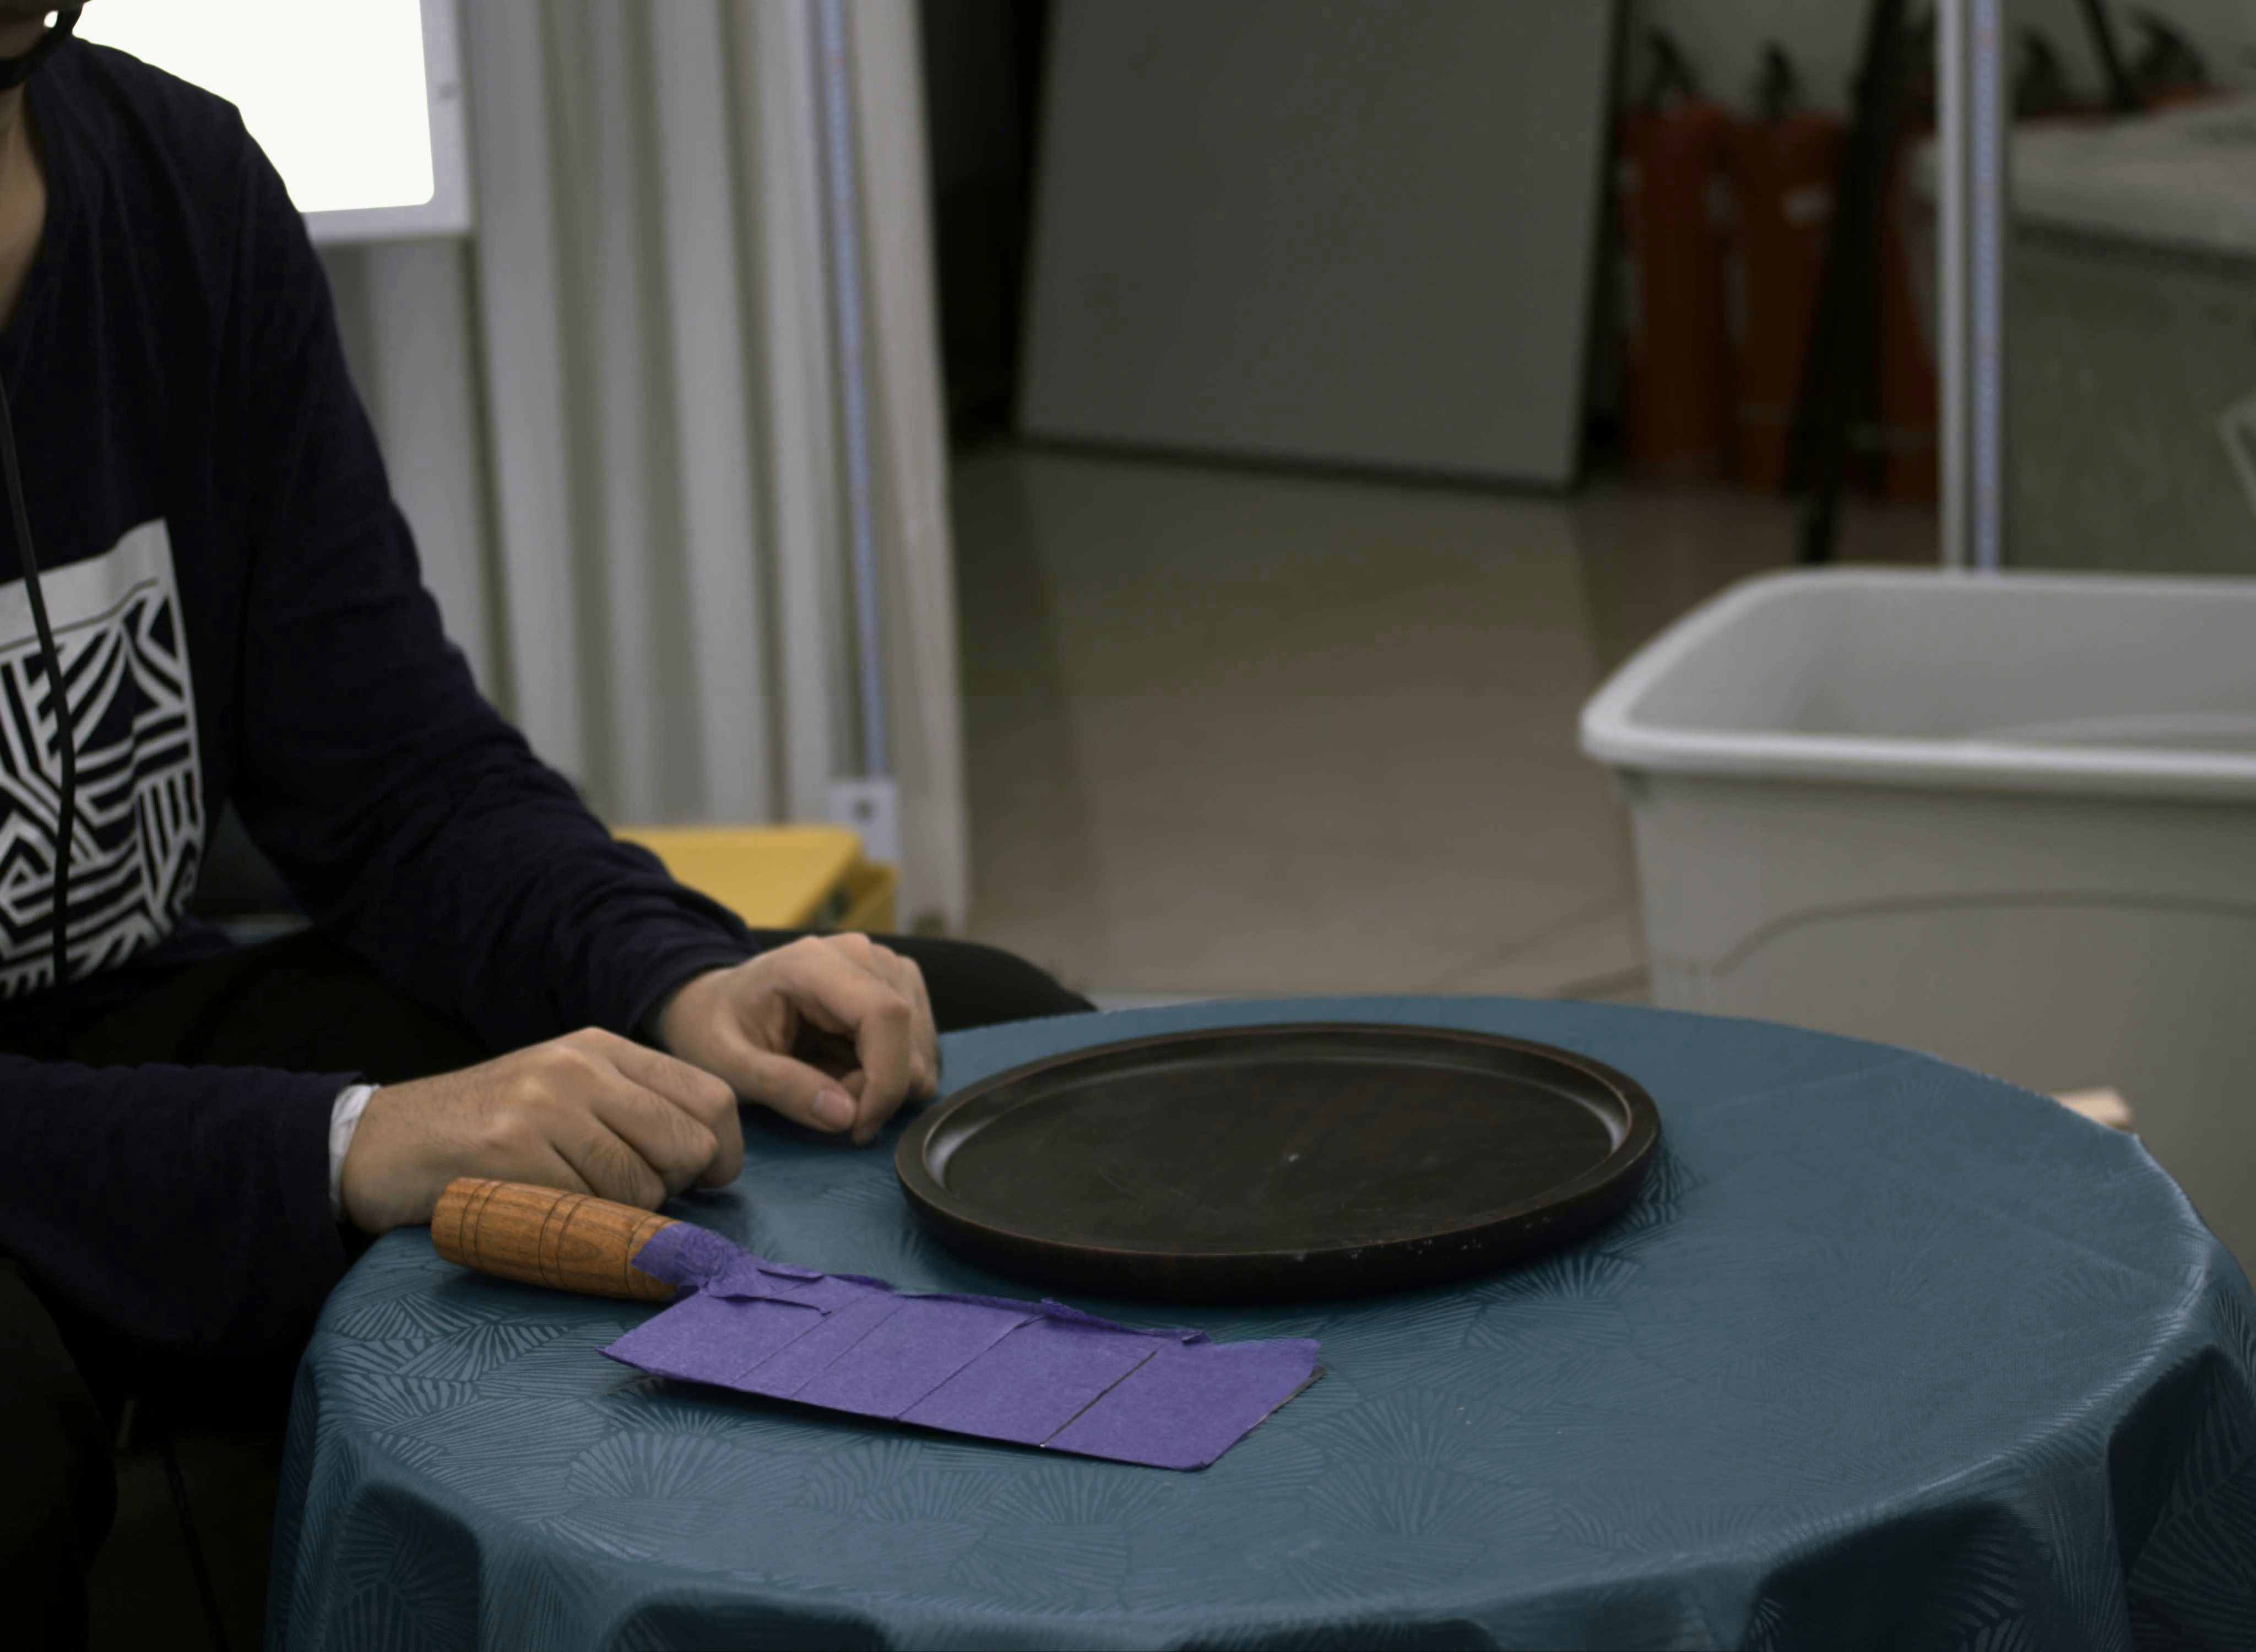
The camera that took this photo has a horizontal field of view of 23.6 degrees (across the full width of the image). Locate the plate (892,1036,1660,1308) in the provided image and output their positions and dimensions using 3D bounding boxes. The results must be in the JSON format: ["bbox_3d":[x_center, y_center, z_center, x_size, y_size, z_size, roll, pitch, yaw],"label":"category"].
[{"bbox_3d":[0.048,0.110,1.758,0.251,0.029,0.255,-4,14,0],"label":"plate"}]

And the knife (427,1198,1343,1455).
[{"bbox_3d":[-0.093,0.150,1.627,0.316,0.032,0.102,4,15,29],"label":"knife"}]
